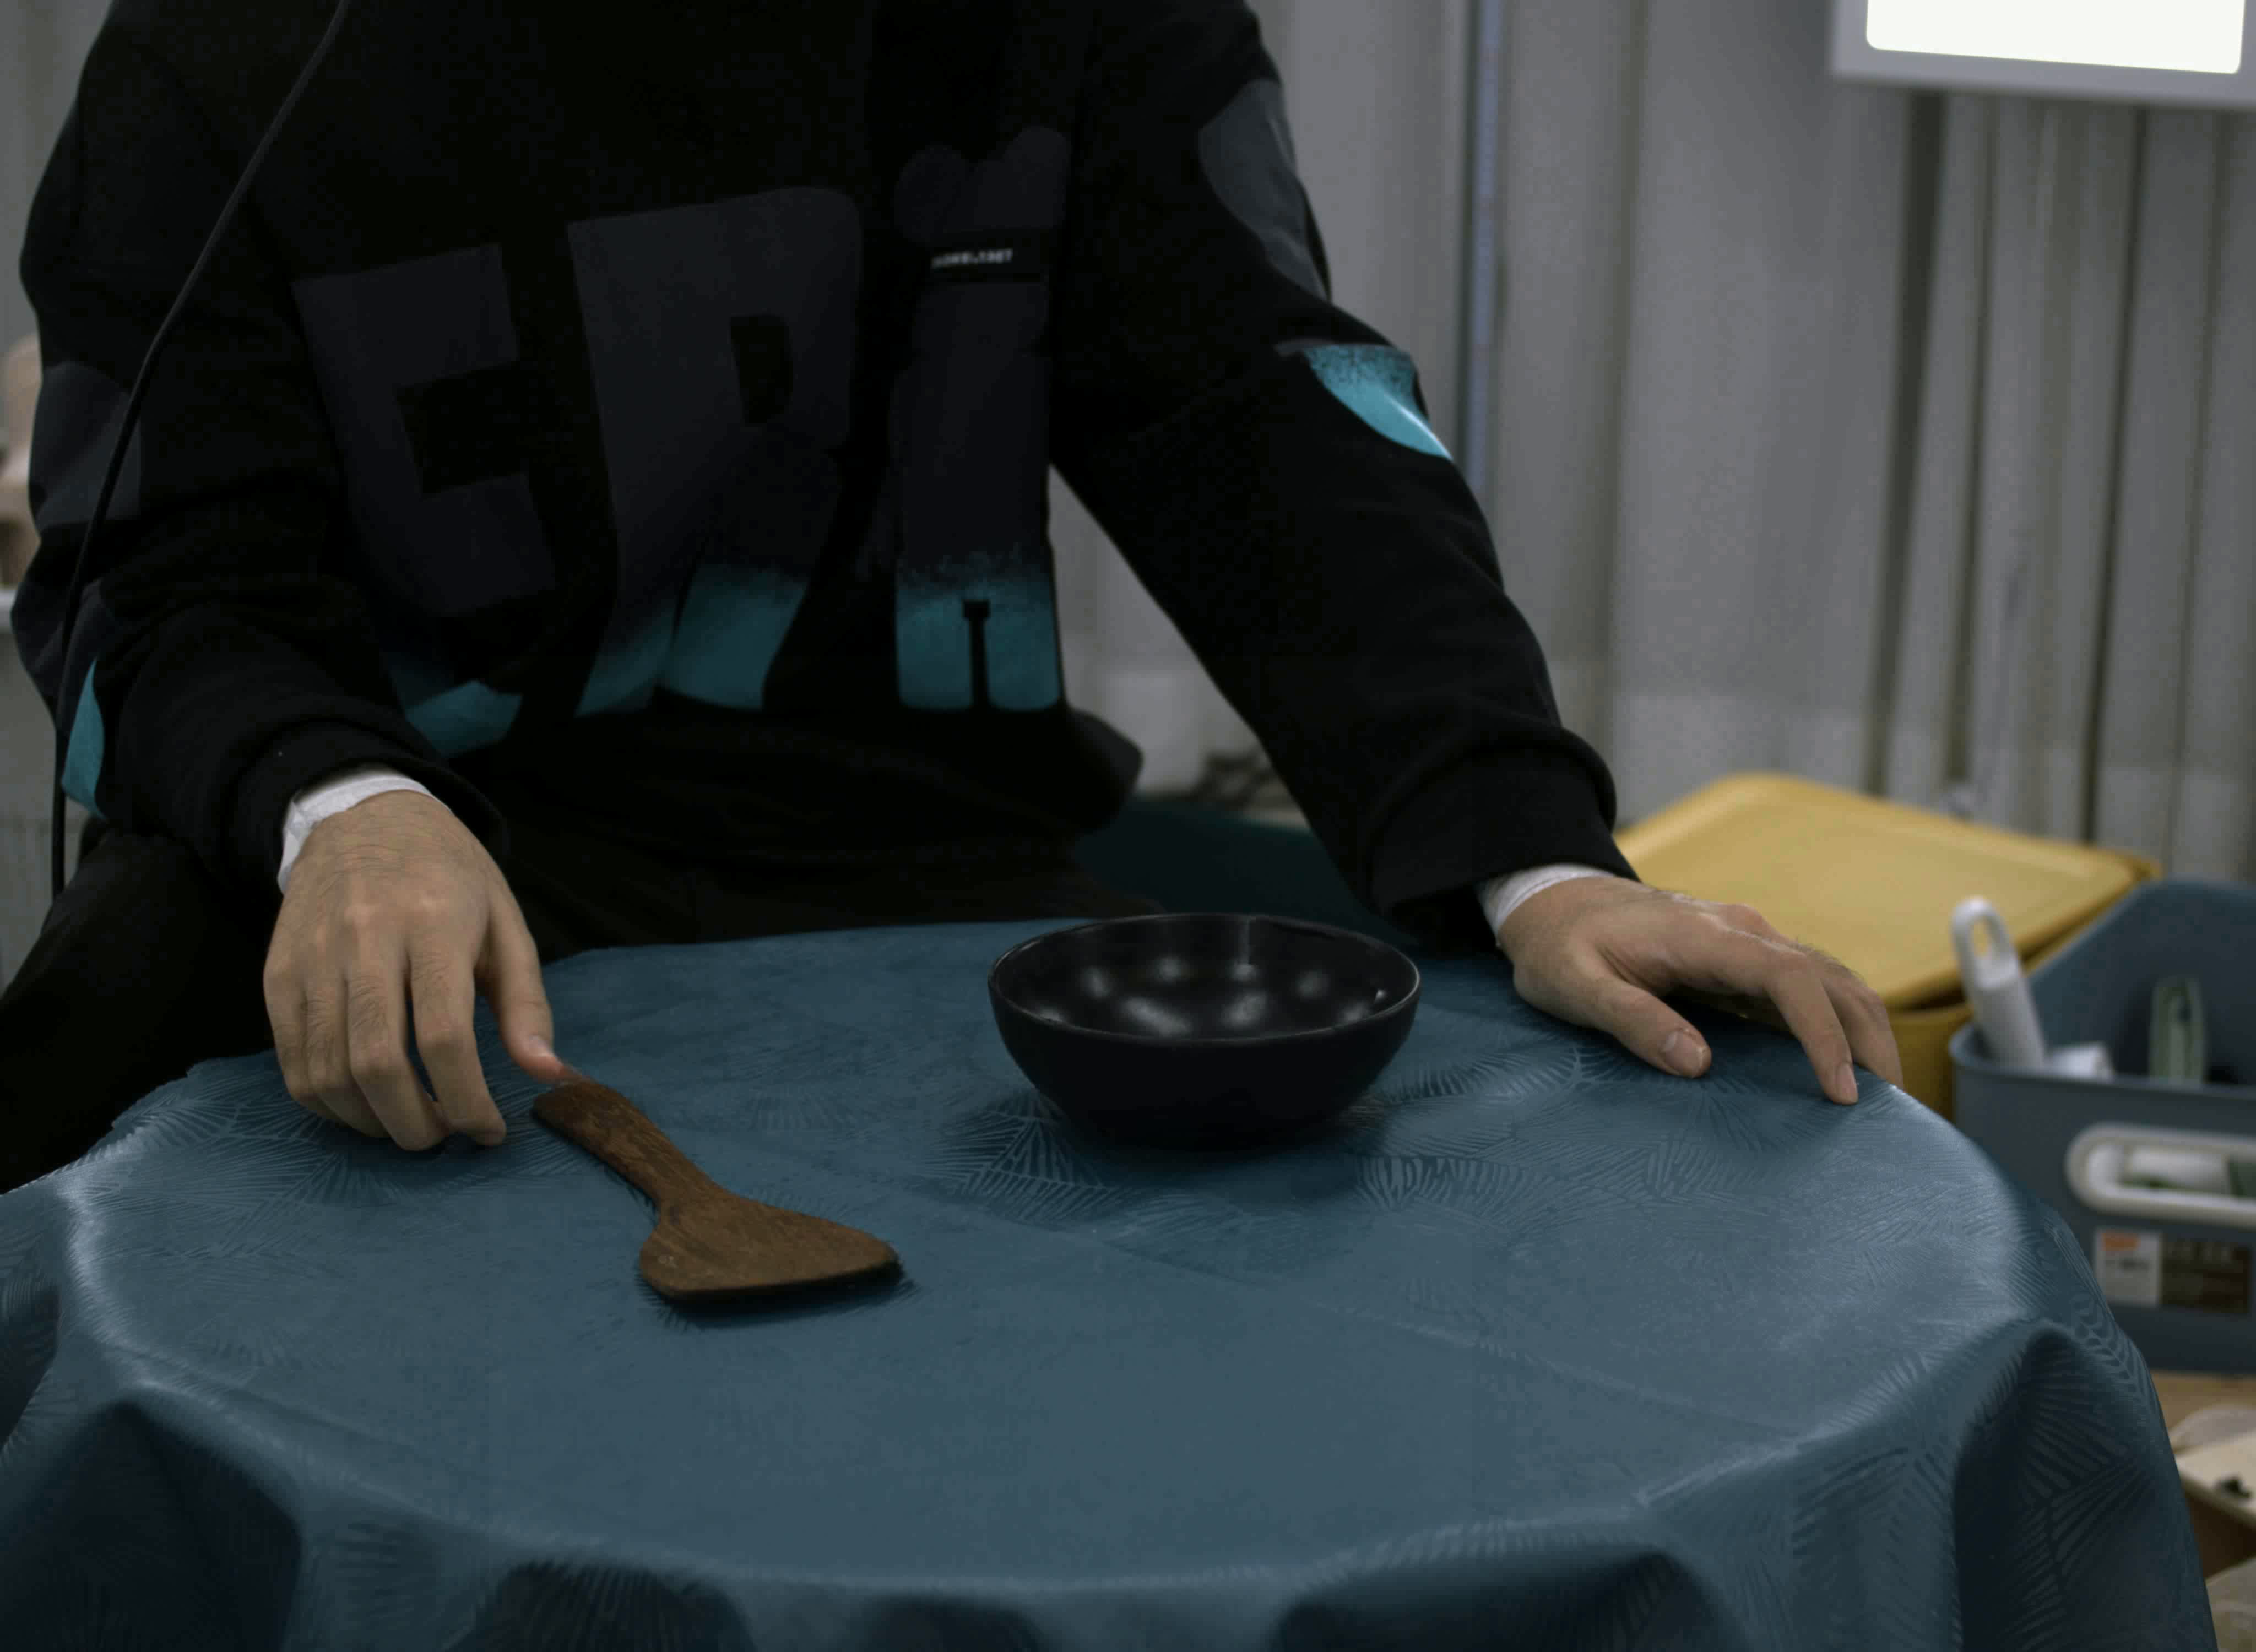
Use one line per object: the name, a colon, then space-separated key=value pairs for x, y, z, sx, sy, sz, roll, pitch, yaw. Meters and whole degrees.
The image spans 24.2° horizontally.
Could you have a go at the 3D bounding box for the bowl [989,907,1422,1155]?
bowl: x=0.026 y=0.070 z=1.687 sx=0.139 sy=0.050 sz=0.139 roll=-2 pitch=17 yaw=1

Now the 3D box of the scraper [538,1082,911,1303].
scraper: x=-0.136 y=0.111 z=1.612 sx=0.076 sy=0.011 sz=0.209 roll=-5 pitch=16 yaw=-24
